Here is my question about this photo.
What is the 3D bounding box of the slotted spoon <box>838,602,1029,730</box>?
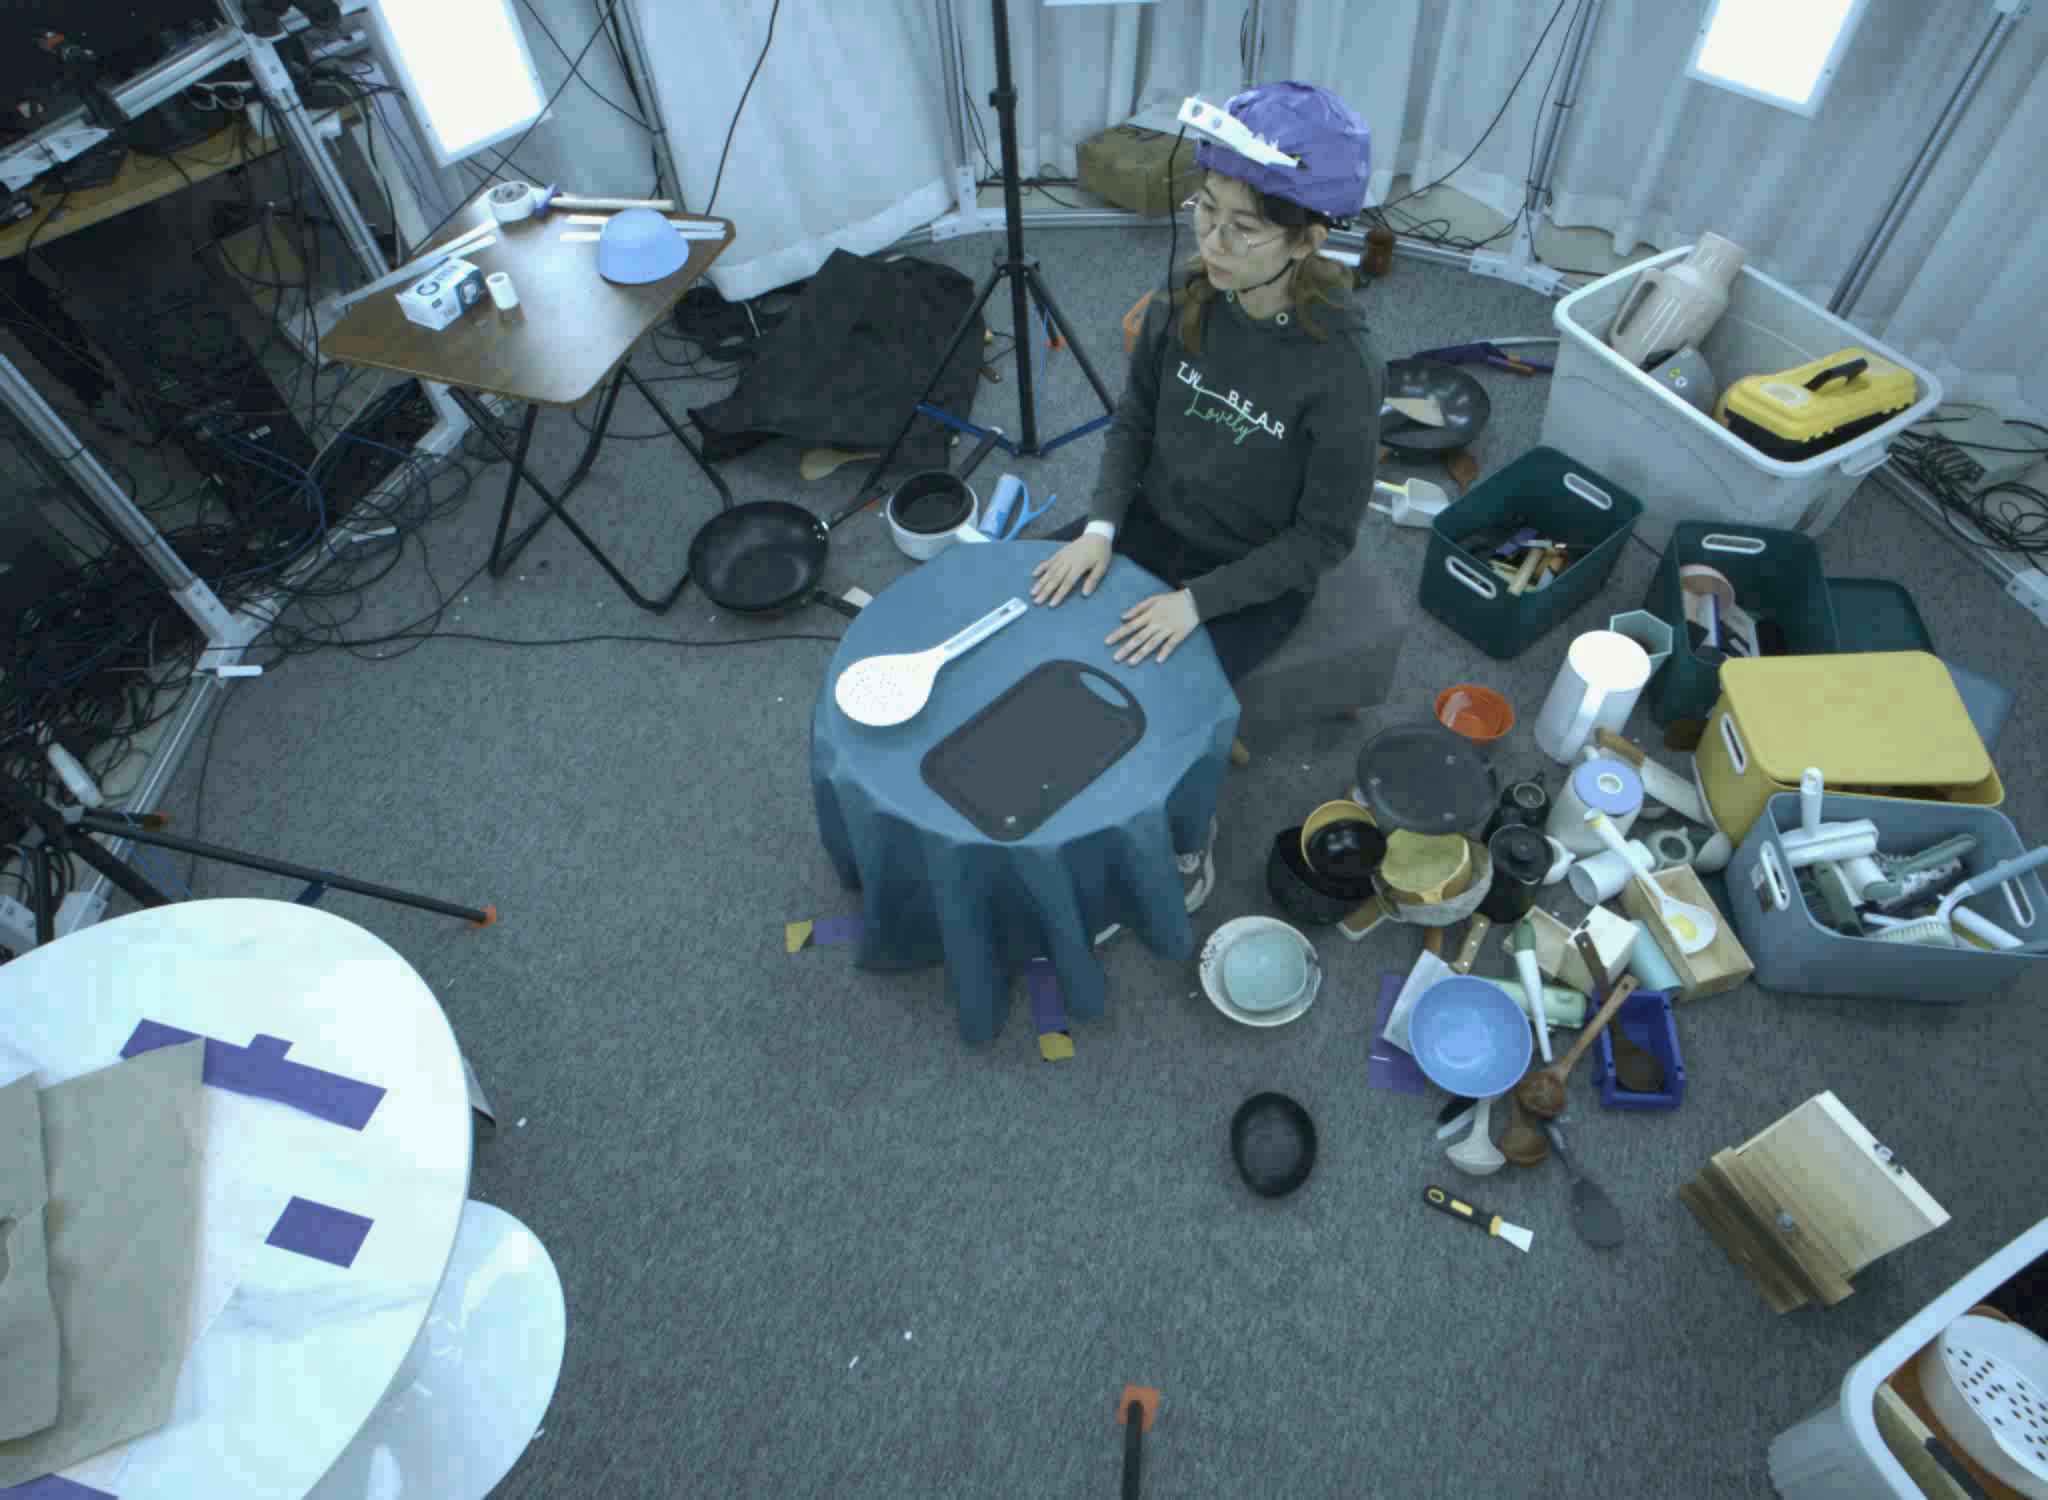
[{"bbox_3d":[-0.129,-0.137,1.870,0.352,0.046,0.134,-38,64,-23],"label":"slotted spoon"}]

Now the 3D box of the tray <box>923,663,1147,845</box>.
[{"bbox_3d":[0.023,-0.007,1.798,0.328,0.010,0.207,-39,63,-23],"label":"tray"}]
